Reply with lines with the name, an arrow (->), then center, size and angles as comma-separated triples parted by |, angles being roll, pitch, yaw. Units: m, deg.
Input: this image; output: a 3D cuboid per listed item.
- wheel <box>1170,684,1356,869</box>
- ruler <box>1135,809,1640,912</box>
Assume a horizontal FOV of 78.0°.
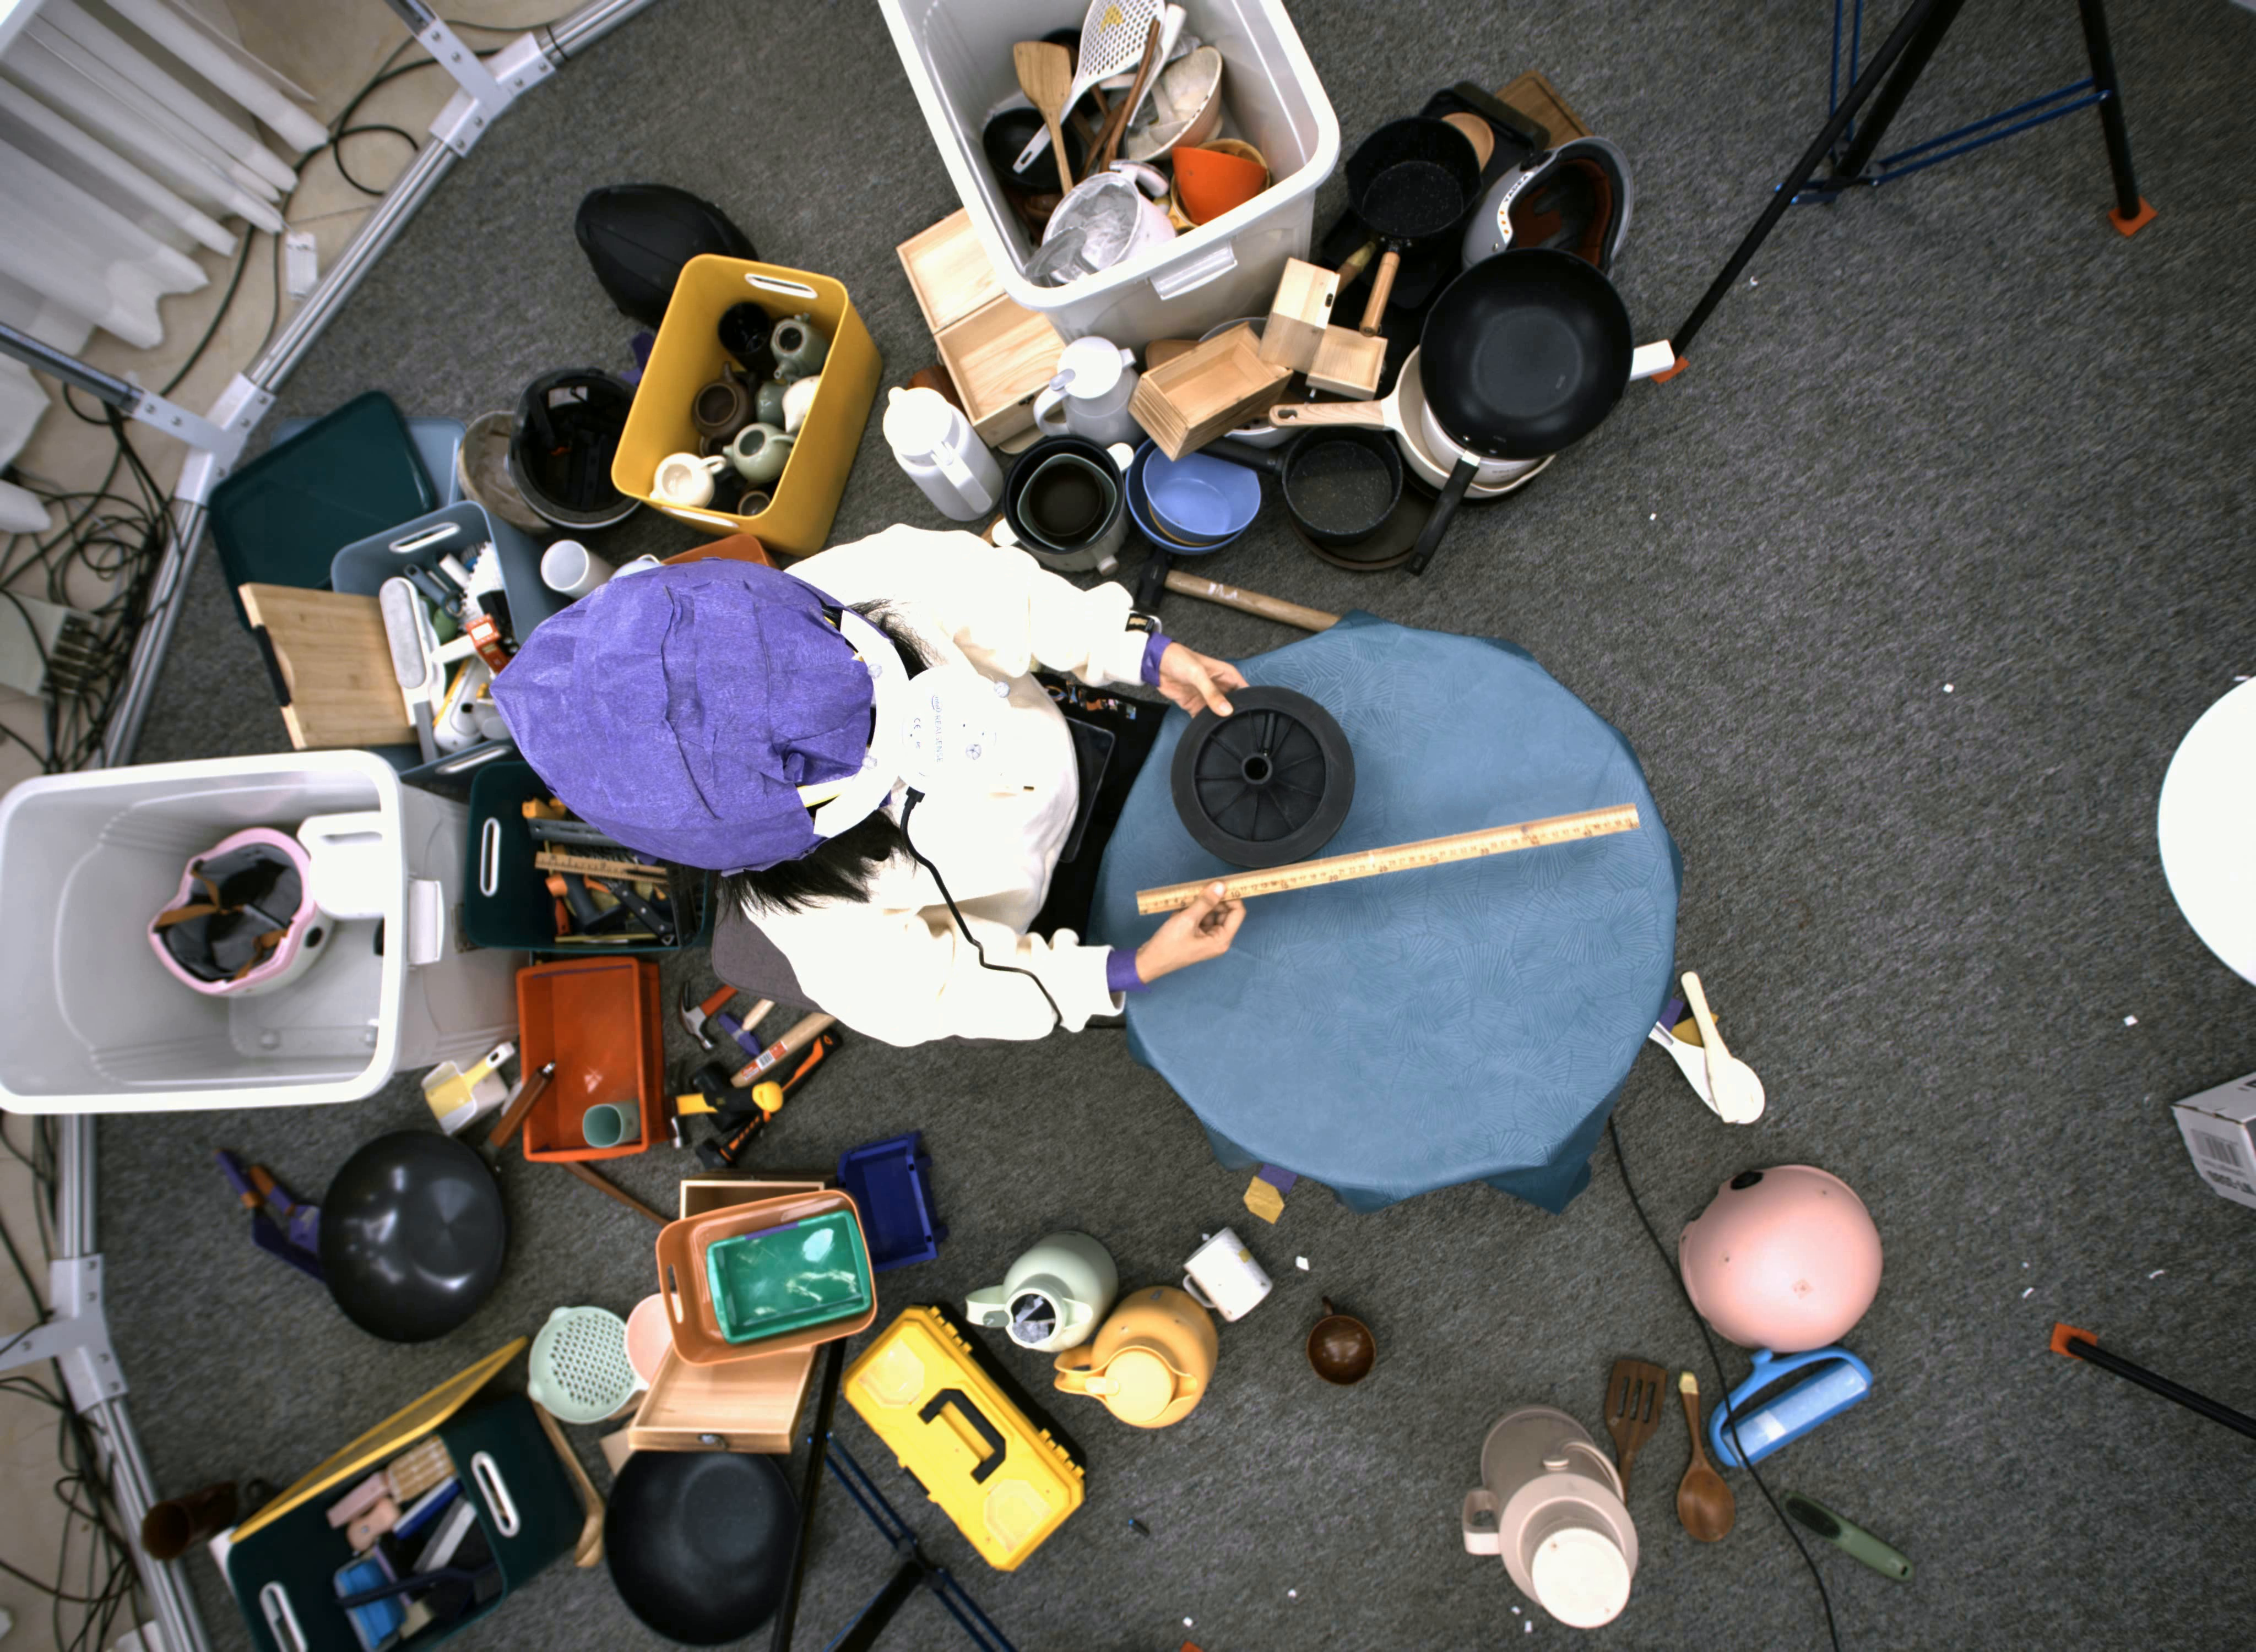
wheel -> 0.133, -0.053, 1.388 | 0.188, 0.079, 0.188 | -14, 84, 10
ruler -> 0.252, 0.035, 1.372 | 0.503, 0.006, 0.027 | -10, 89, 11
